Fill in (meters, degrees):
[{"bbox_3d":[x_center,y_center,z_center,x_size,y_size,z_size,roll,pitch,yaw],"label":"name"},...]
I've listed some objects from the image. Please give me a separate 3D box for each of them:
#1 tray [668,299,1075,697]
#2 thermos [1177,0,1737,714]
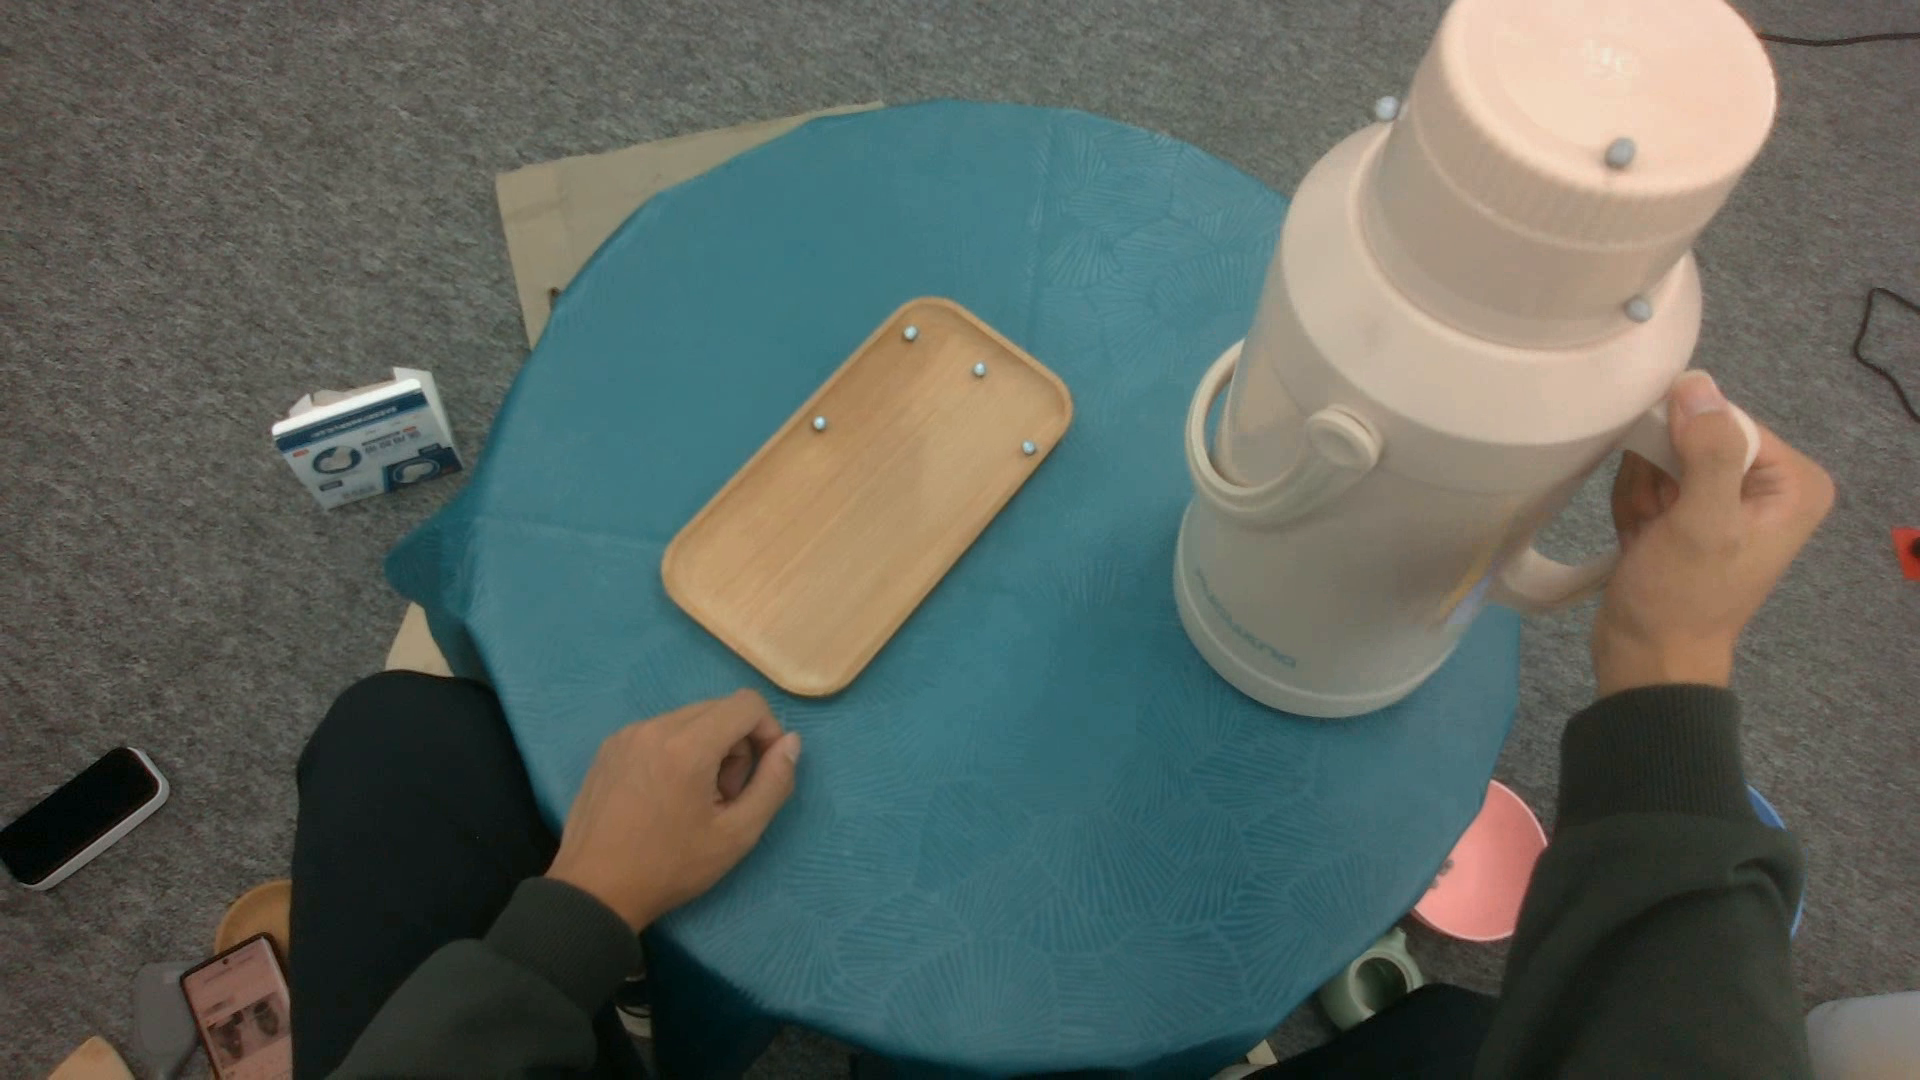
[{"bbox_3d":[-0.047,-0.030,0.796,0.130,0.023,0.251,37,69,12],"label":"tray"},{"bbox_3d":[0.209,-0.051,0.615,0.207,0.404,0.176,37,69,18],"label":"thermos"}]
